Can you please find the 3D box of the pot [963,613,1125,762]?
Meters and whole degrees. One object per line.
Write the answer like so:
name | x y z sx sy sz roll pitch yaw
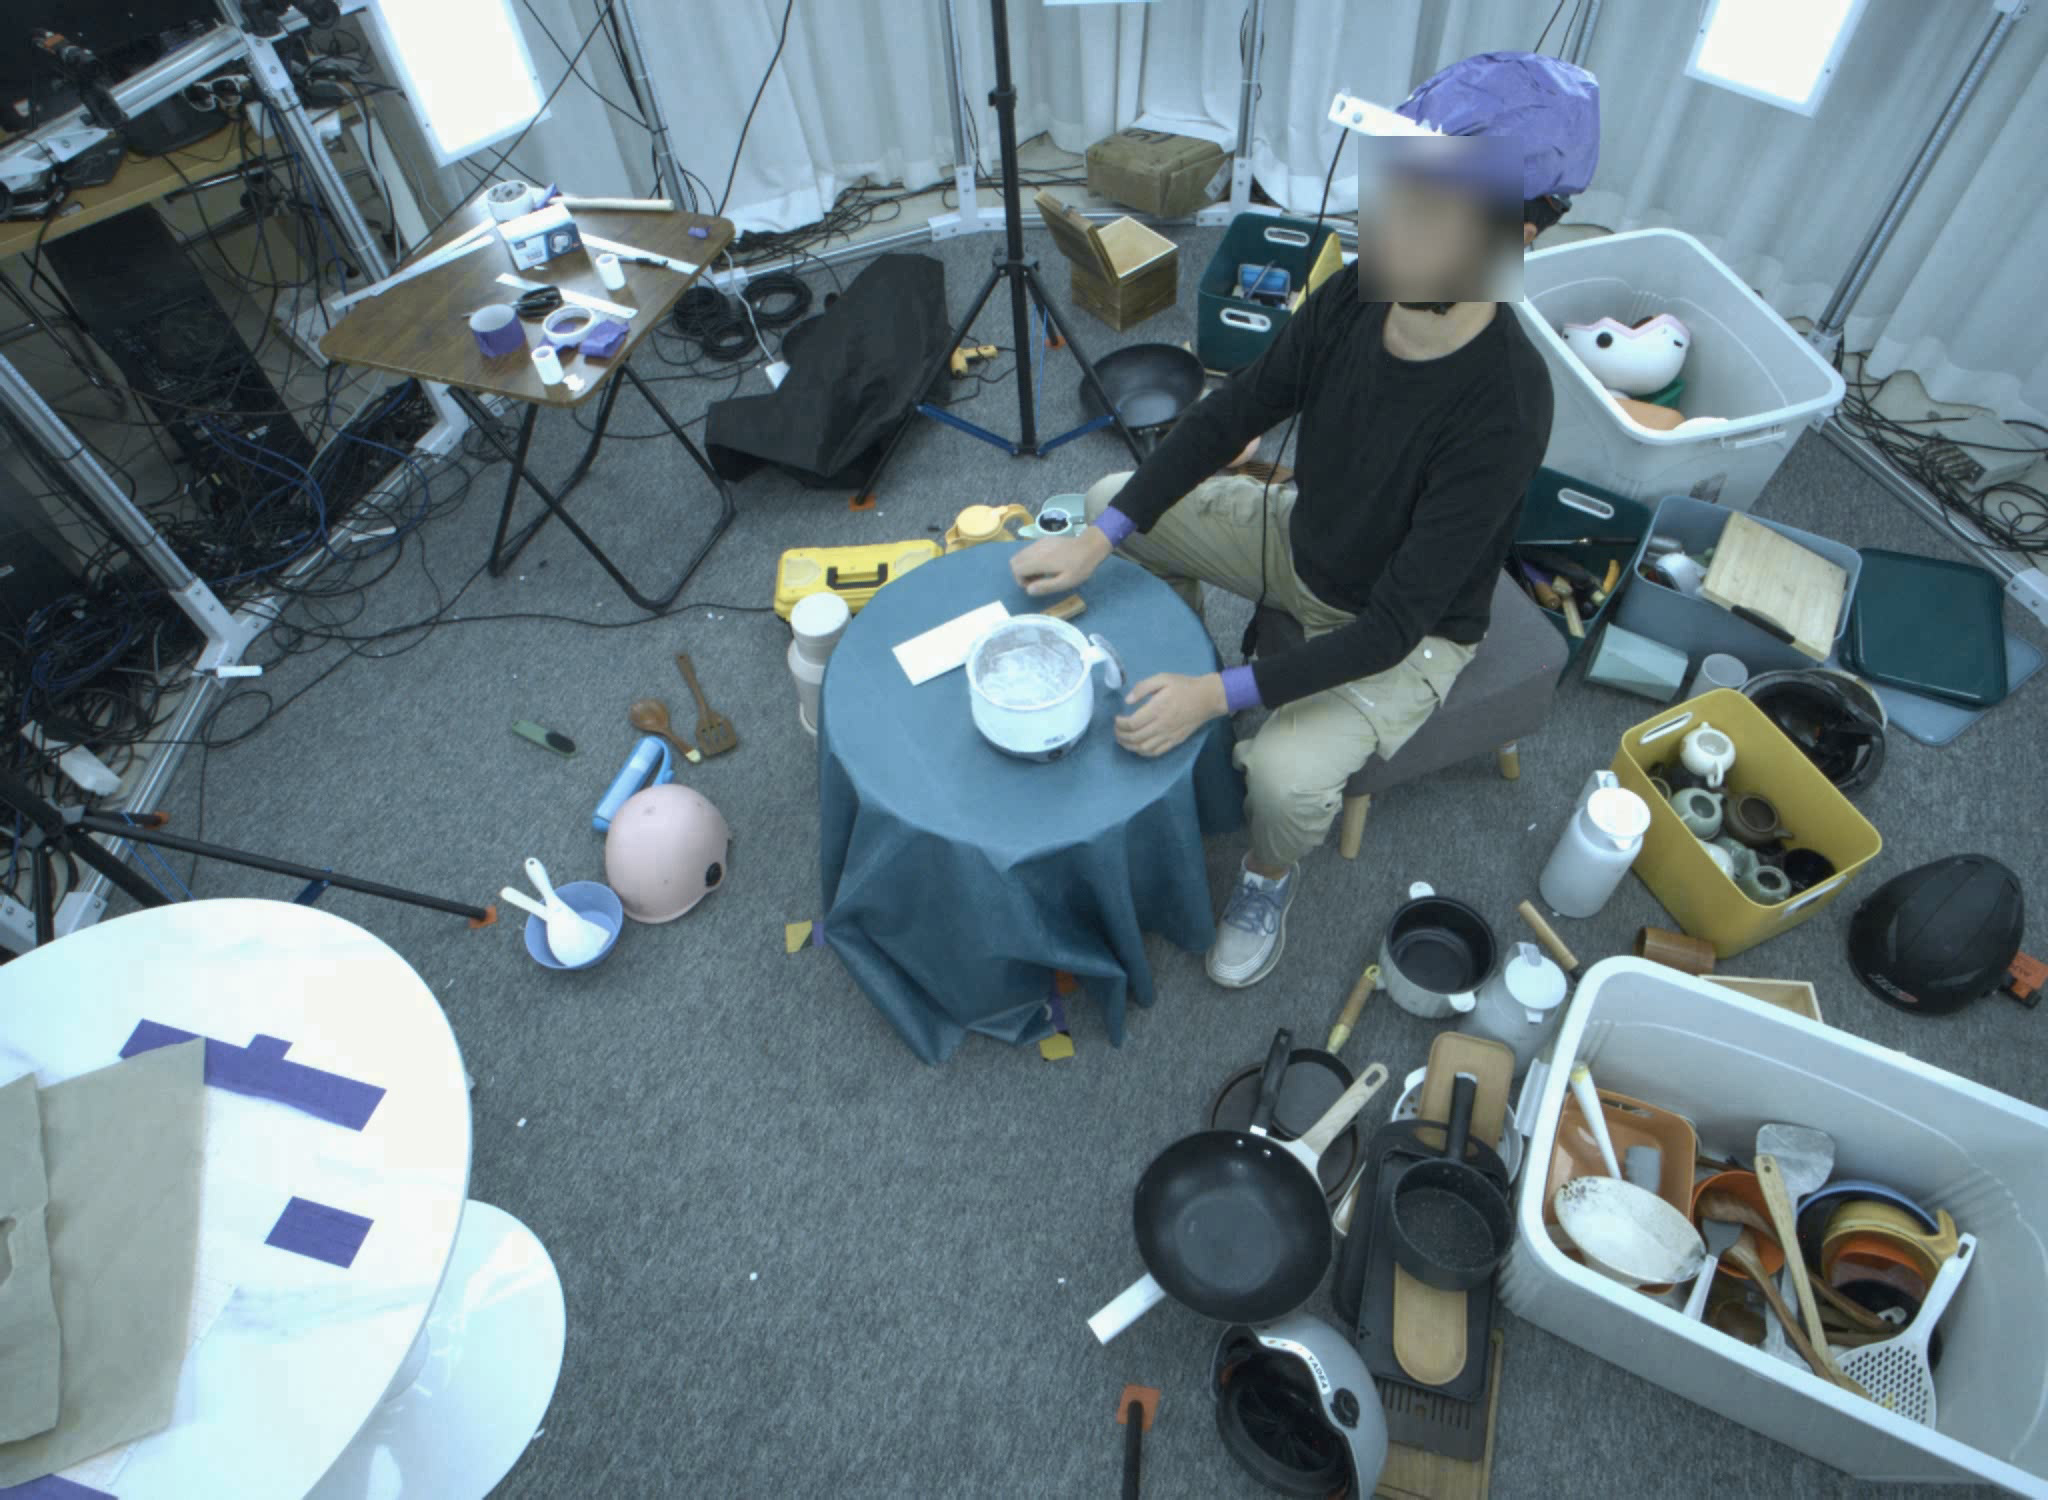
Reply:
pot | 0.034 -0.098 1.766 0.235 0.138 0.175 -21 57 -11

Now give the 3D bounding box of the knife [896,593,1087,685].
knife | -0.053 -0.190 1.912 0.308 0.021 0.091 -25 59 -13
